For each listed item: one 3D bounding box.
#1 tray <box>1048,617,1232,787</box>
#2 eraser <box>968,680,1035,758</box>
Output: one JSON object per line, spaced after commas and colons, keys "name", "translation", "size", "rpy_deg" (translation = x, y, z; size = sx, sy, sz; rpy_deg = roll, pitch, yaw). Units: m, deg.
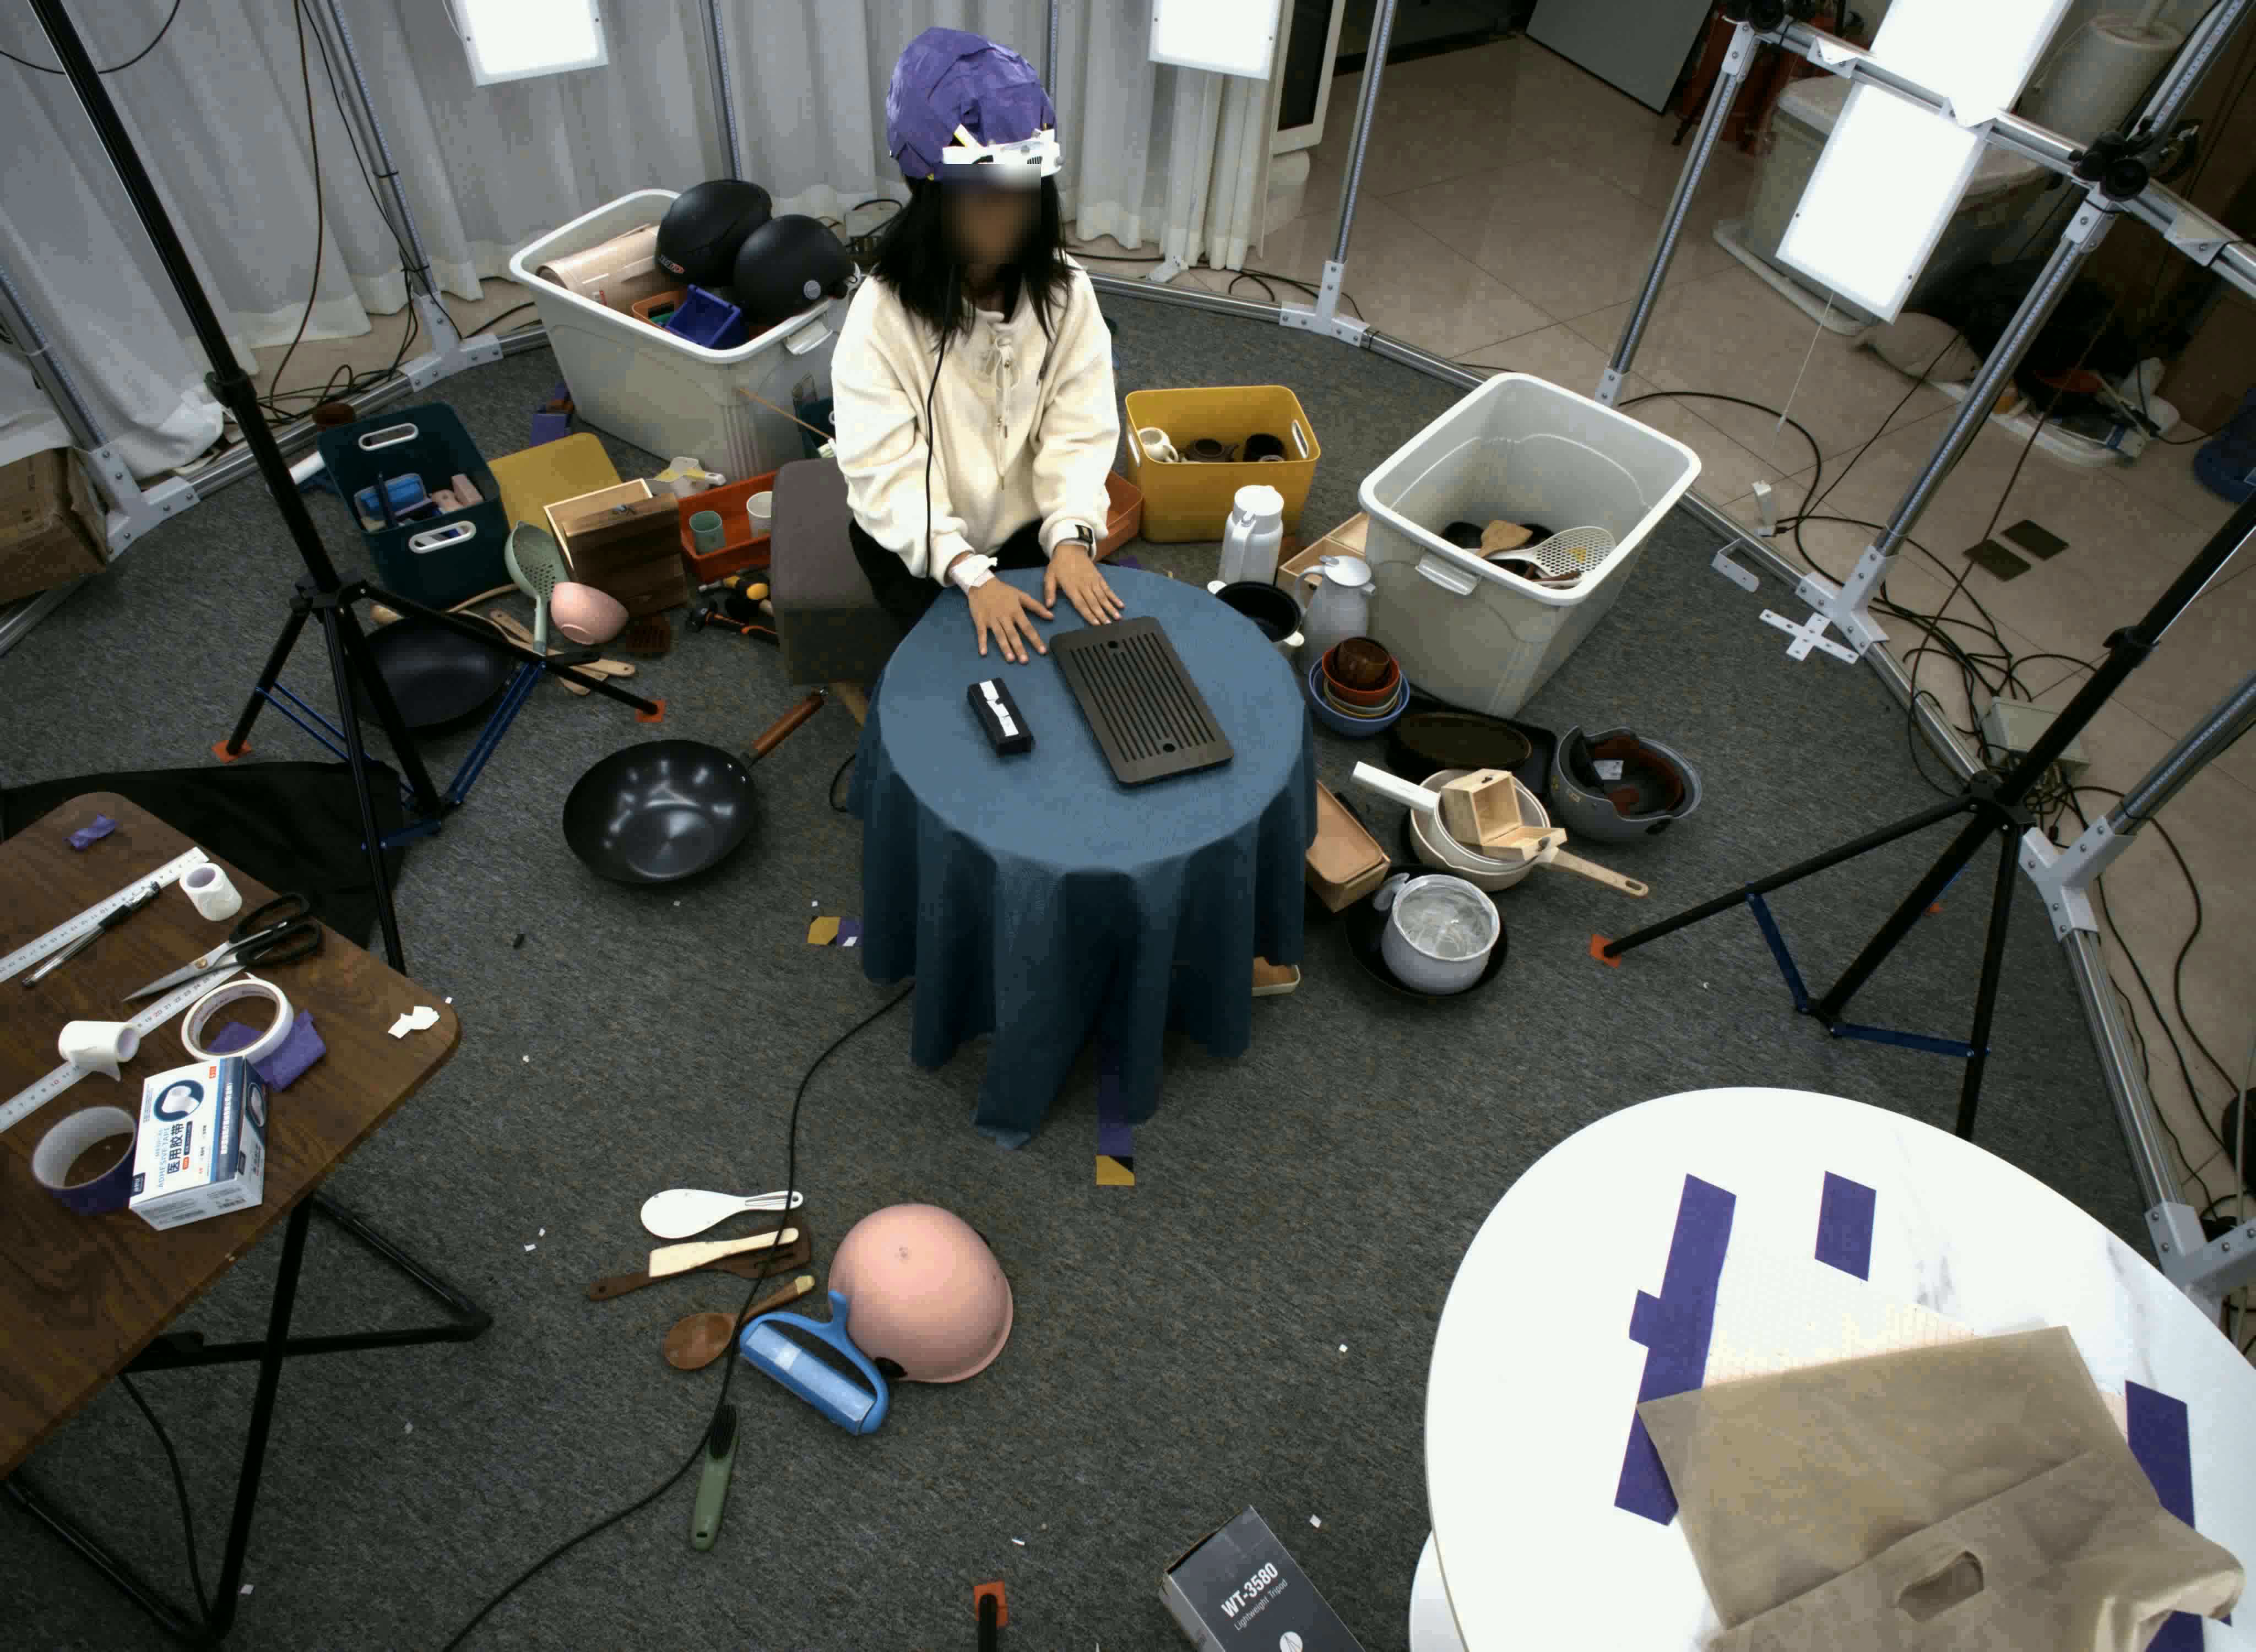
{"name": "tray", "translation": [0.012, -0.180, 1.815], "size": [0.170, 0.018, 0.313], "rpy_deg": [-14, 52, -16]}
{"name": "eraser", "translation": [-0.175, -0.149, 1.770], "size": [0.053, 0.030, 0.128], "rpy_deg": [-15, 50, -19]}
